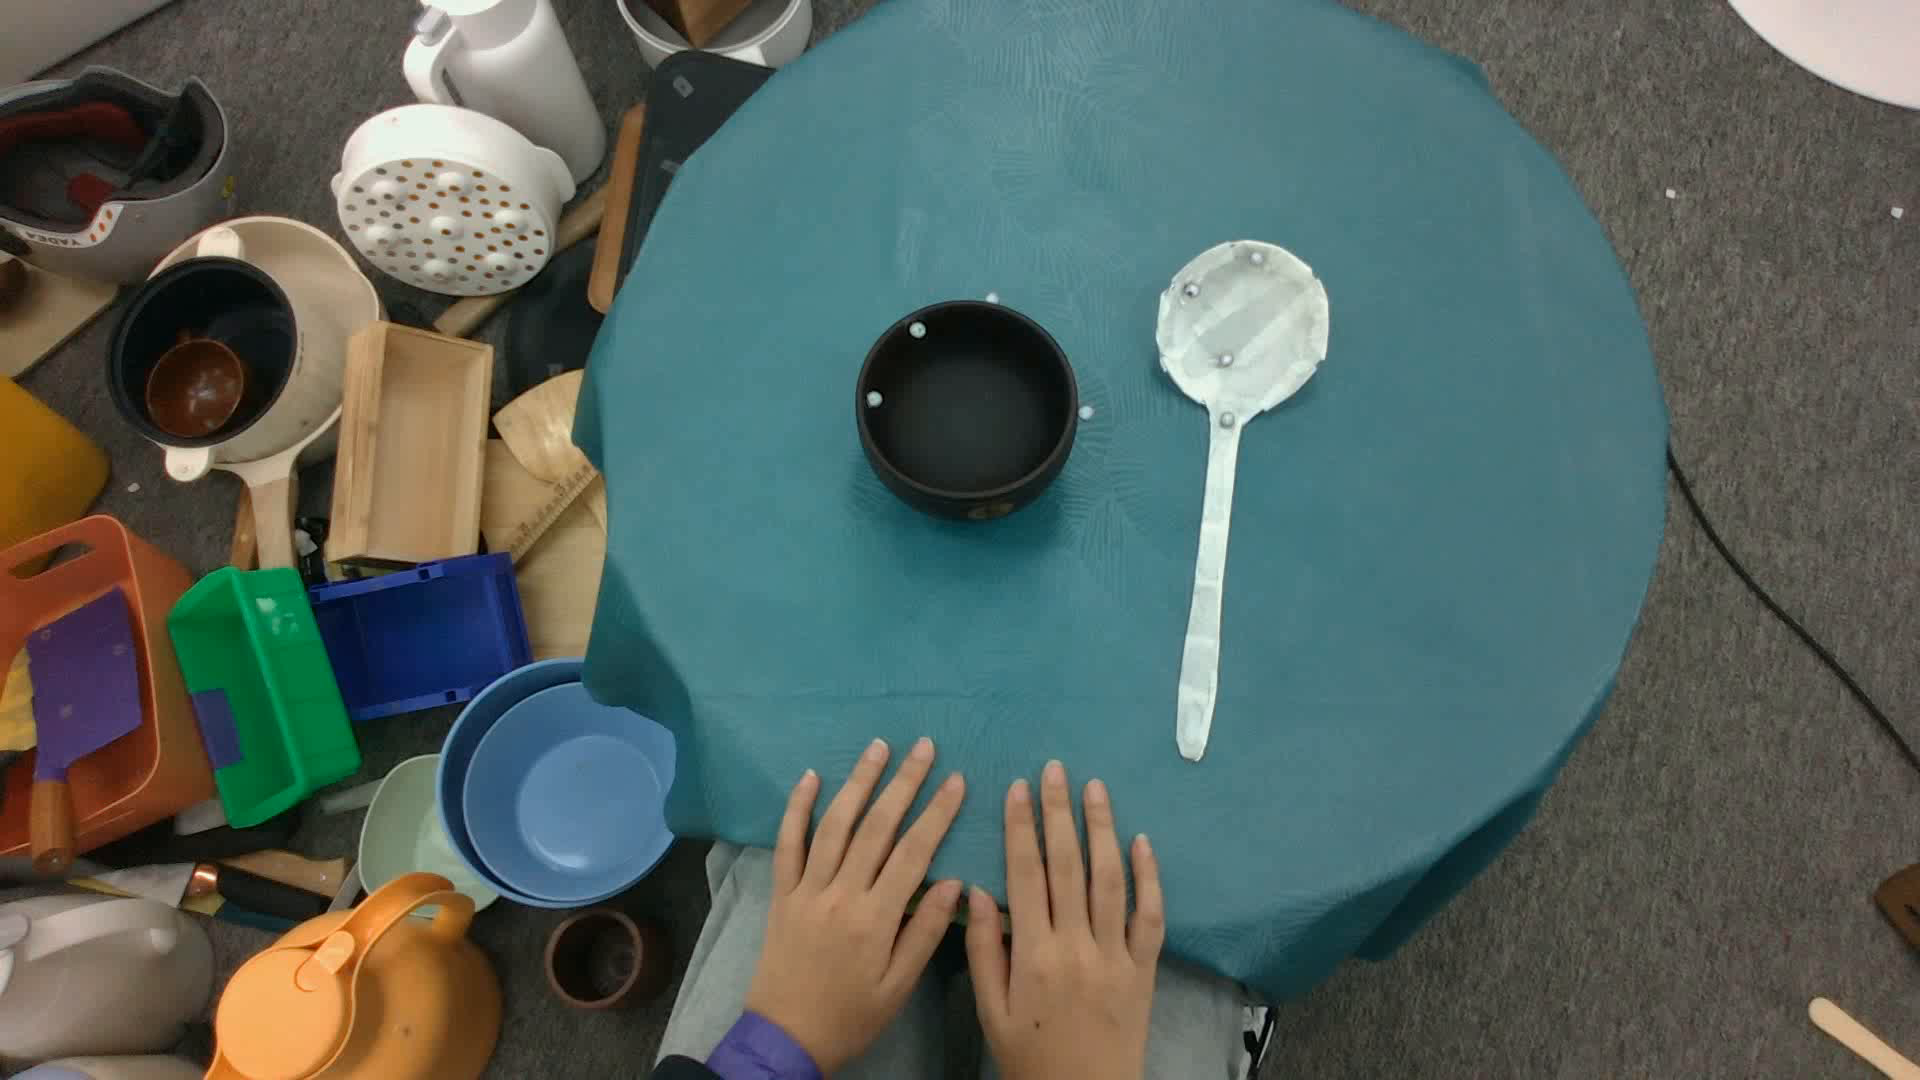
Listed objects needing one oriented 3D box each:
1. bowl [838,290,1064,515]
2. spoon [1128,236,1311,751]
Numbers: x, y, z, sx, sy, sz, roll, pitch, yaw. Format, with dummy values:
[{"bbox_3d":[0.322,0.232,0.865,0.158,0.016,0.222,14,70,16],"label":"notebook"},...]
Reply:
[{"bbox_3d":[-0.005,-0.067,0.735,0.118,0.069,0.118,0,70,0],"label":"bowl"},{"bbox_3d":[0.124,-0.029,0.731,0.100,0.059,0.278,10,70,7],"label":"spoon"}]
